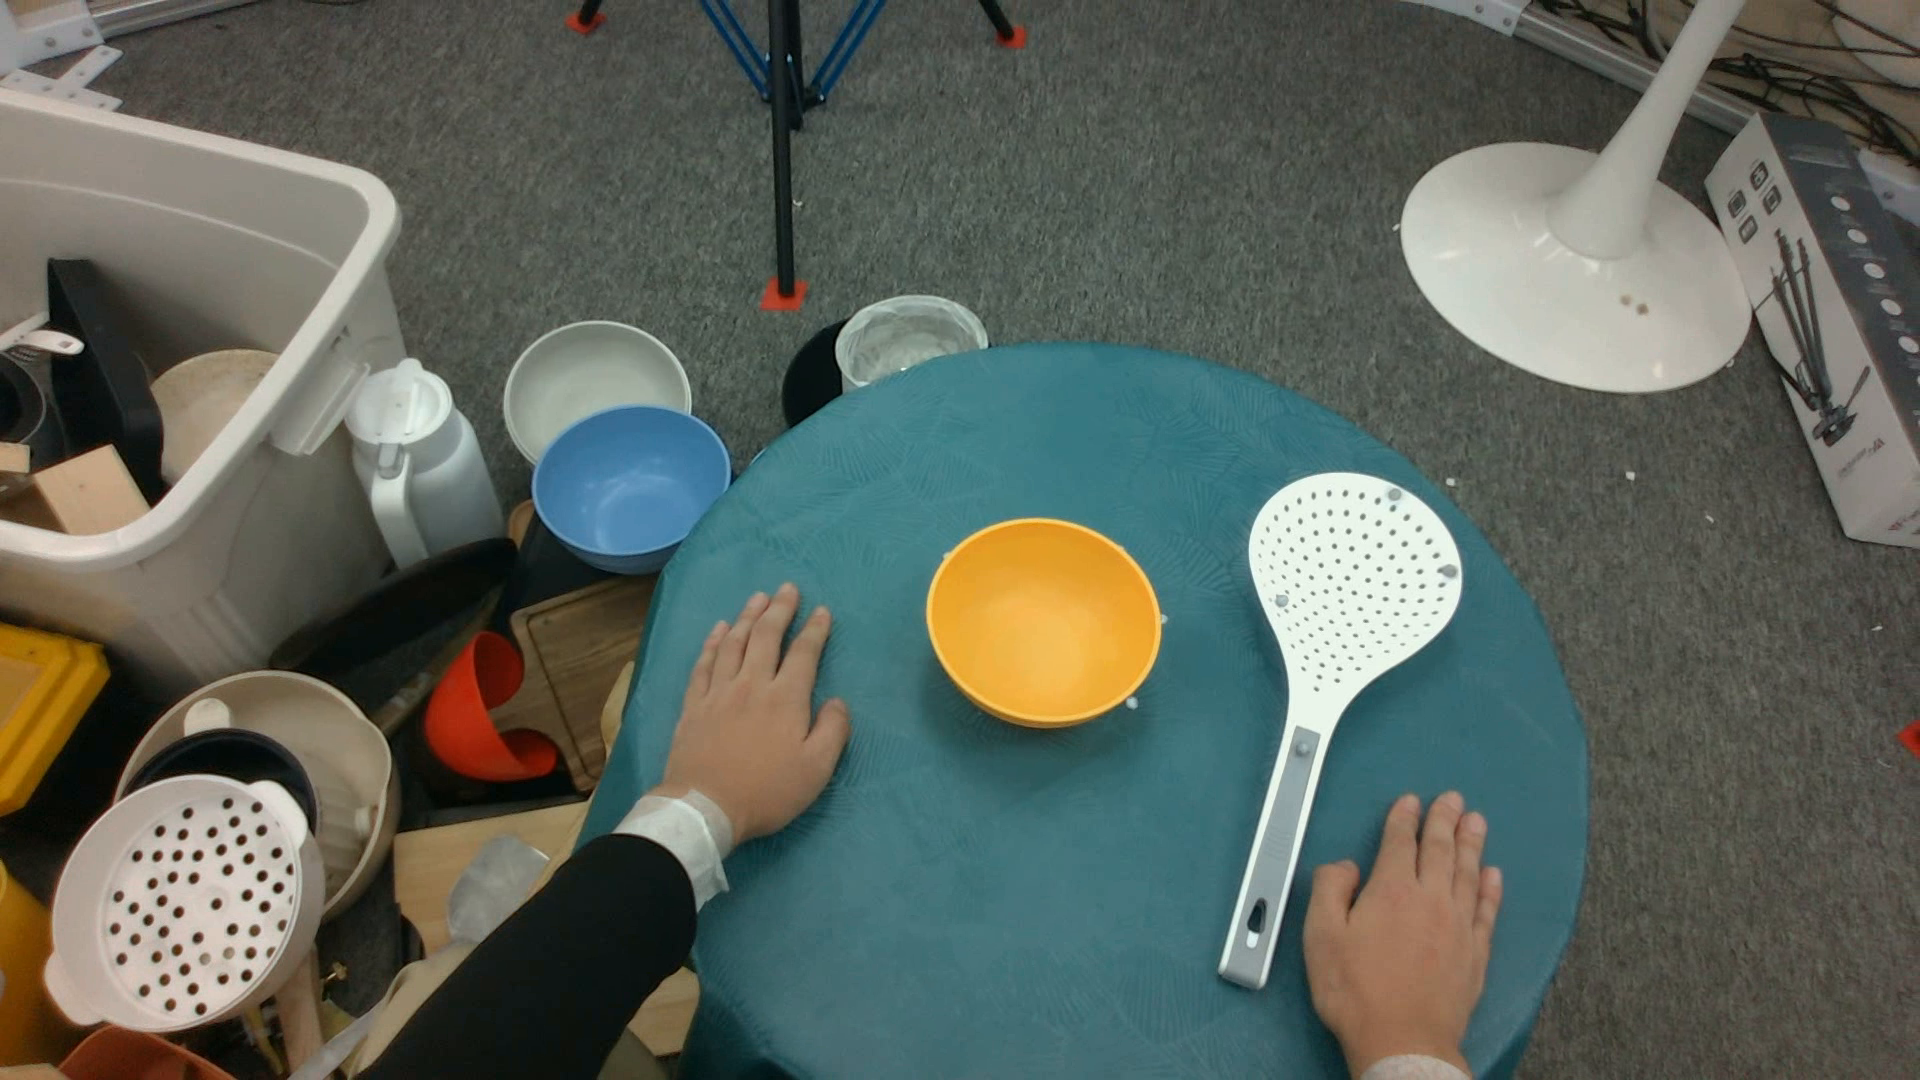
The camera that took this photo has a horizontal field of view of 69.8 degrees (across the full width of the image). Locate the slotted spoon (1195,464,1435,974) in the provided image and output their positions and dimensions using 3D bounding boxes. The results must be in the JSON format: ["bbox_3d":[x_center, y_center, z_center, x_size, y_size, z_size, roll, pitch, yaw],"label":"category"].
[{"bbox_3d":[0.205,0.099,0.854,0.136,0.045,0.351,19,57,8],"label":"slotted spoon"}]

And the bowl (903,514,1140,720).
[{"bbox_3d":[0.036,0.058,0.859,0.145,0.060,0.146,2,54,-3],"label":"bowl"}]
